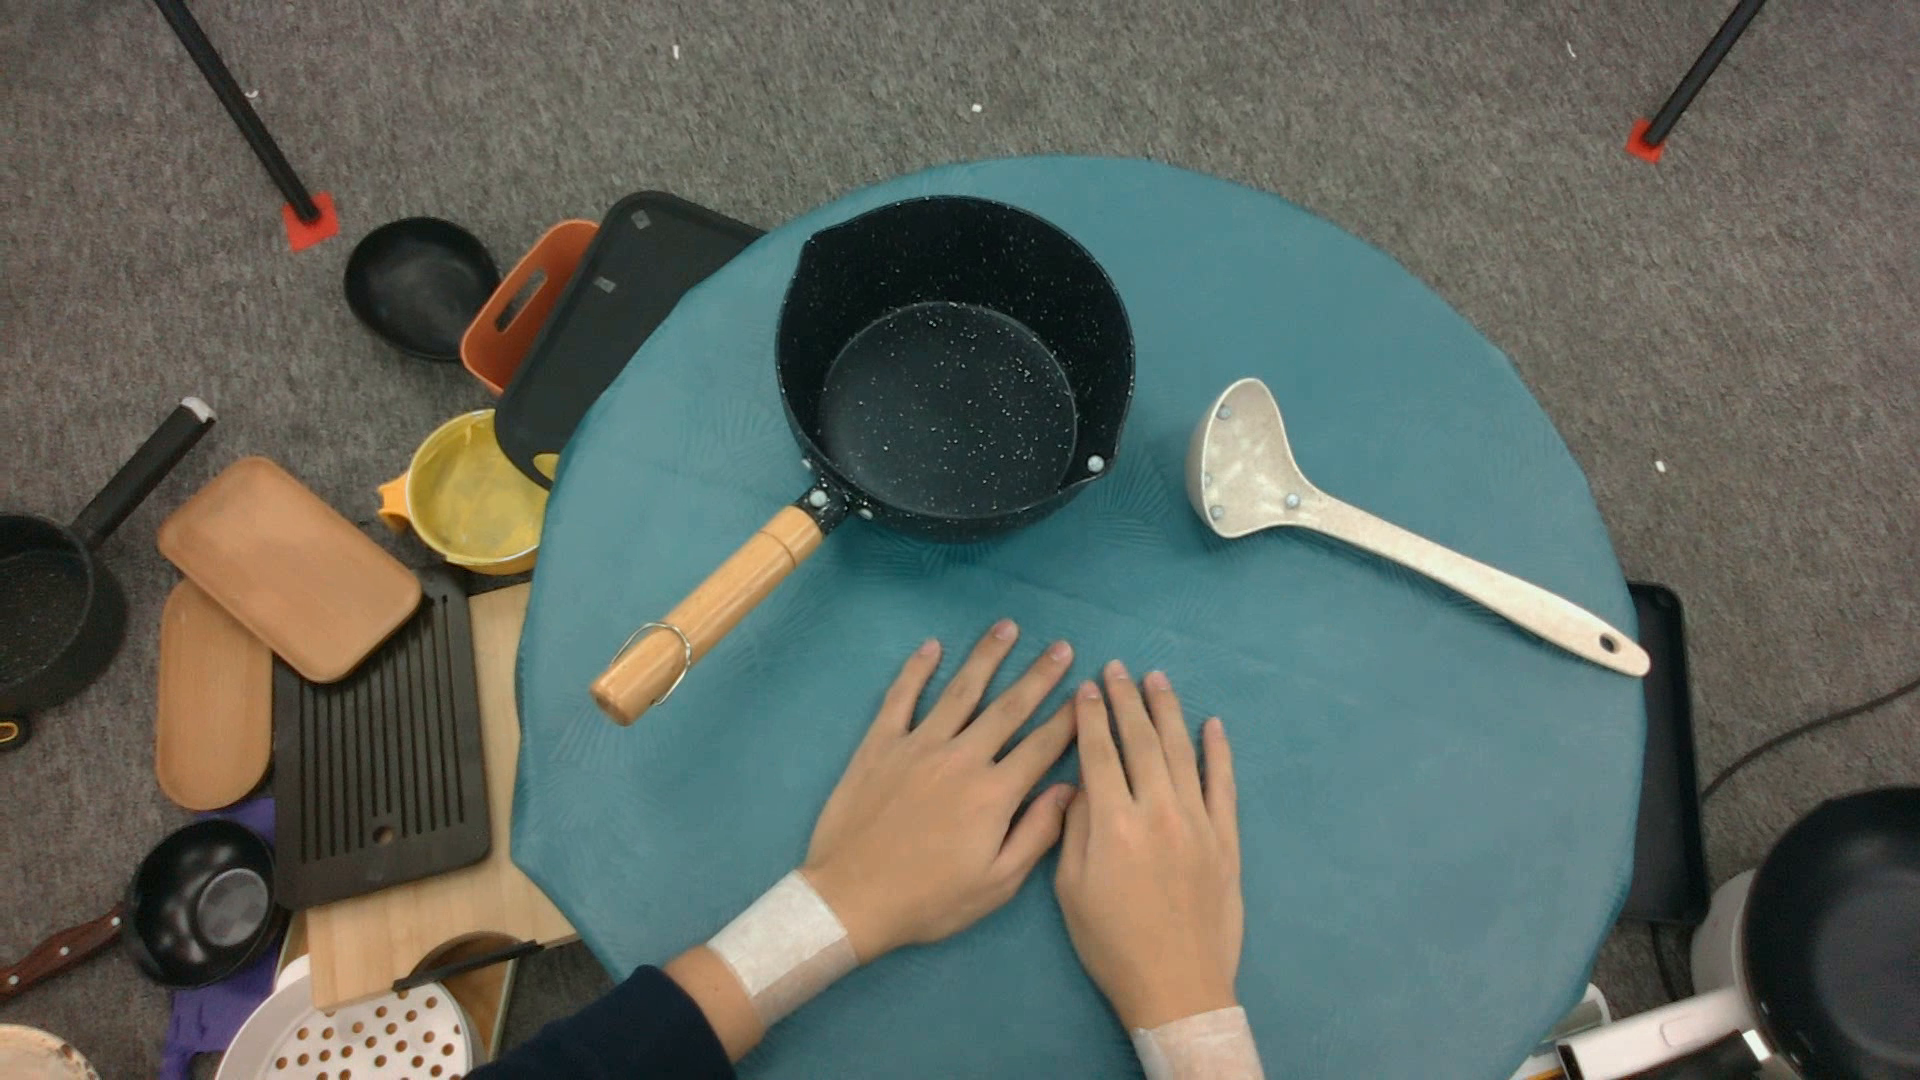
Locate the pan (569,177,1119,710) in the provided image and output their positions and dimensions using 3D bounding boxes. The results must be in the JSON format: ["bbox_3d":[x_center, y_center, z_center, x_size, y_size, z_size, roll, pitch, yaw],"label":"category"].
[{"bbox_3d":[-0.061,-0.036,0.699,0.207,0.108,0.344,37,70,8],"label":"pan"}]

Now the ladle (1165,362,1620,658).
[{"bbox_3d":[0.239,-0.009,0.734,0.275,0.069,0.090,24,64,4],"label":"ladle"}]
